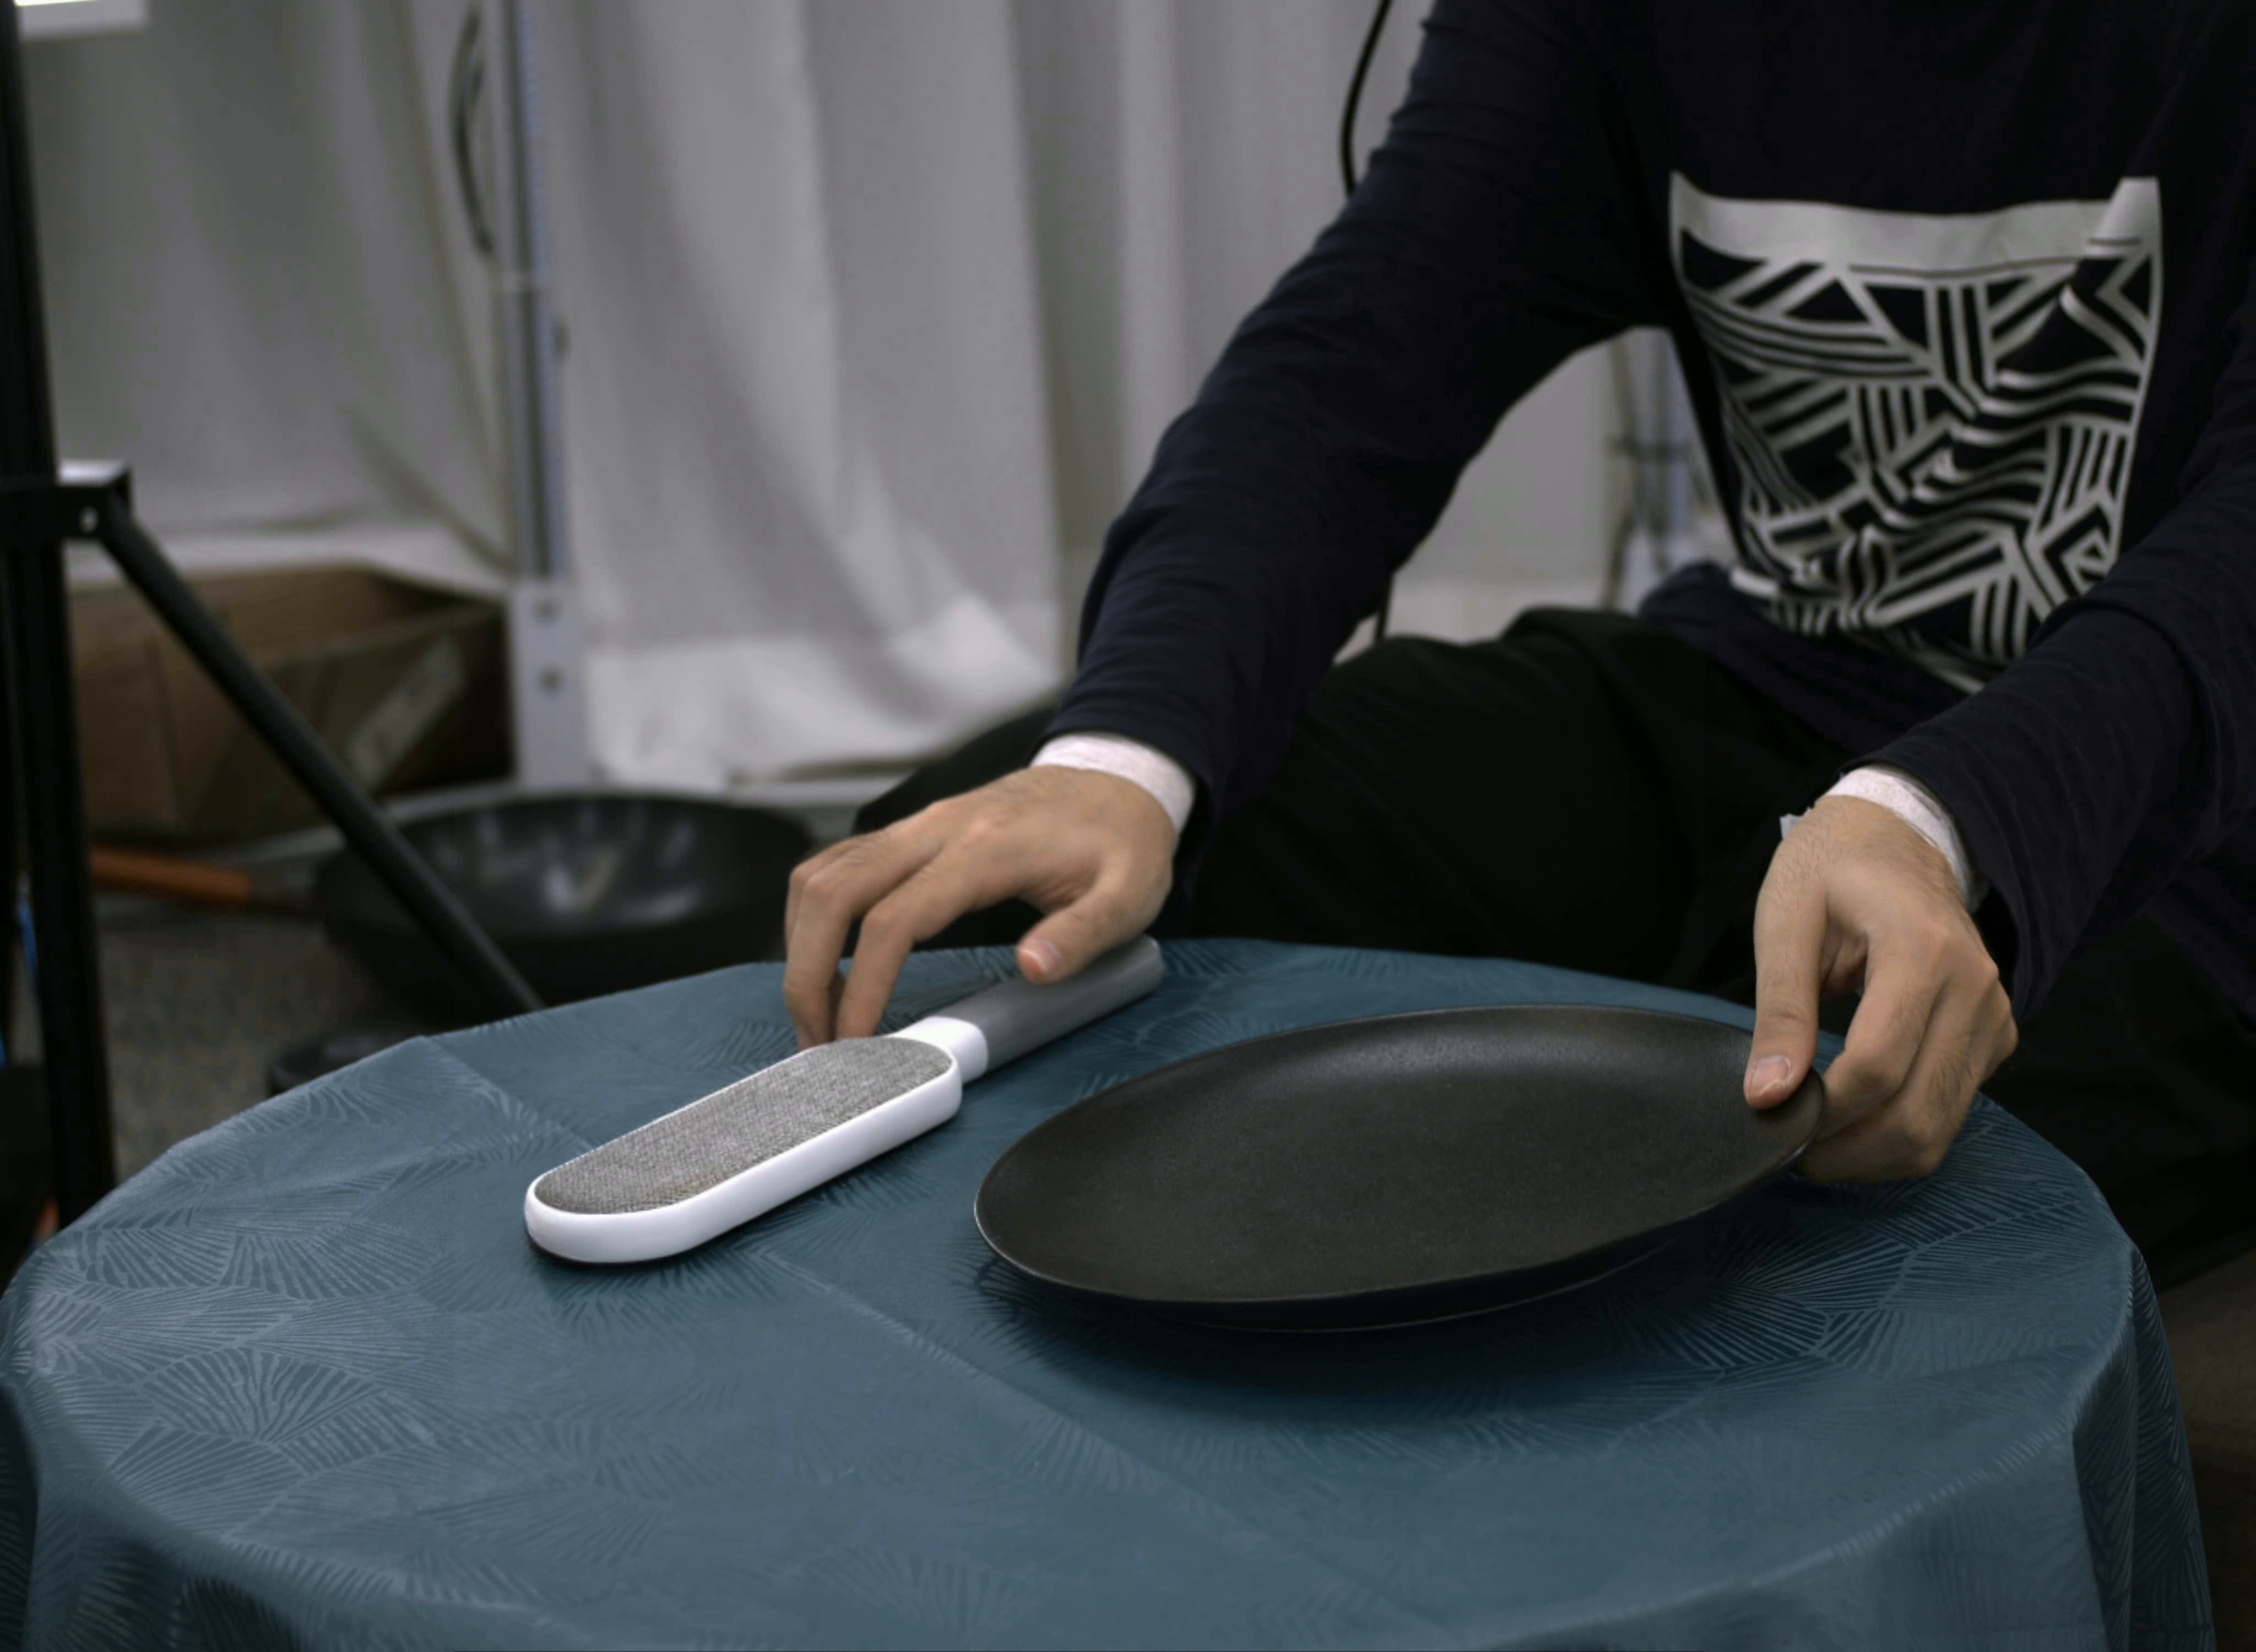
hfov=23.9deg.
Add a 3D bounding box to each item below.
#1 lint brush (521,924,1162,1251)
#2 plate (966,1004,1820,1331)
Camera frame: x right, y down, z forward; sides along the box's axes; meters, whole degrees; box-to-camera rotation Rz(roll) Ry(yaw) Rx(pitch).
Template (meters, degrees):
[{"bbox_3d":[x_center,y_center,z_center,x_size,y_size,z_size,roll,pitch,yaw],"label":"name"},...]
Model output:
[{"bbox_3d":[-0.077,0.077,1.634,0.061,0.021,0.303,2,16,34],"label":"lint brush"},{"bbox_3d":[0.076,0.100,1.503,0.243,0.023,0.245,-9,15,1],"label":"plate"}]
